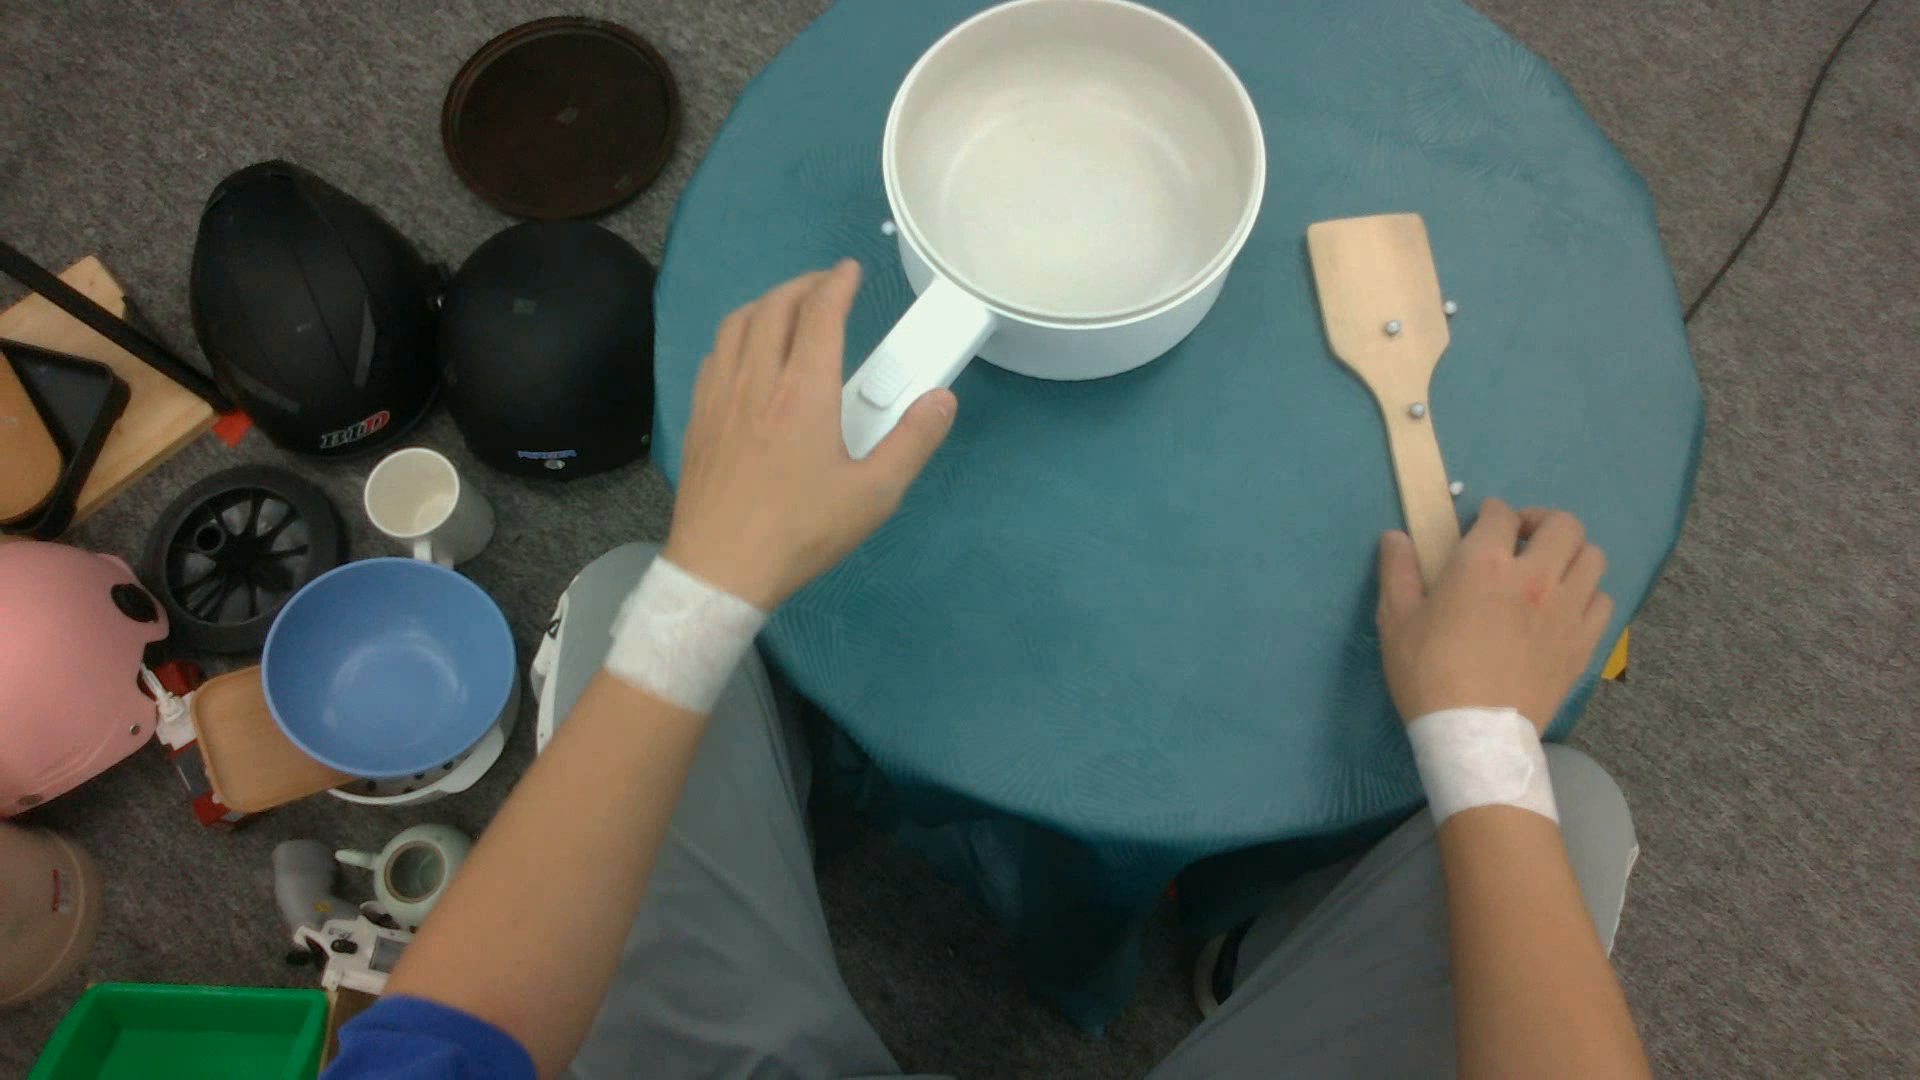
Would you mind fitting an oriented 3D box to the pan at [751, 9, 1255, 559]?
[{"bbox_3d":[0.014,-0.129,0.764,0.201,0.102,0.356,34,75,9],"label":"pan"}]

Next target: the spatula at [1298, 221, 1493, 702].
[{"bbox_3d":[0.256,-0.051,0.782,0.072,0.010,0.294,-7,71,-3],"label":"spatula"}]
